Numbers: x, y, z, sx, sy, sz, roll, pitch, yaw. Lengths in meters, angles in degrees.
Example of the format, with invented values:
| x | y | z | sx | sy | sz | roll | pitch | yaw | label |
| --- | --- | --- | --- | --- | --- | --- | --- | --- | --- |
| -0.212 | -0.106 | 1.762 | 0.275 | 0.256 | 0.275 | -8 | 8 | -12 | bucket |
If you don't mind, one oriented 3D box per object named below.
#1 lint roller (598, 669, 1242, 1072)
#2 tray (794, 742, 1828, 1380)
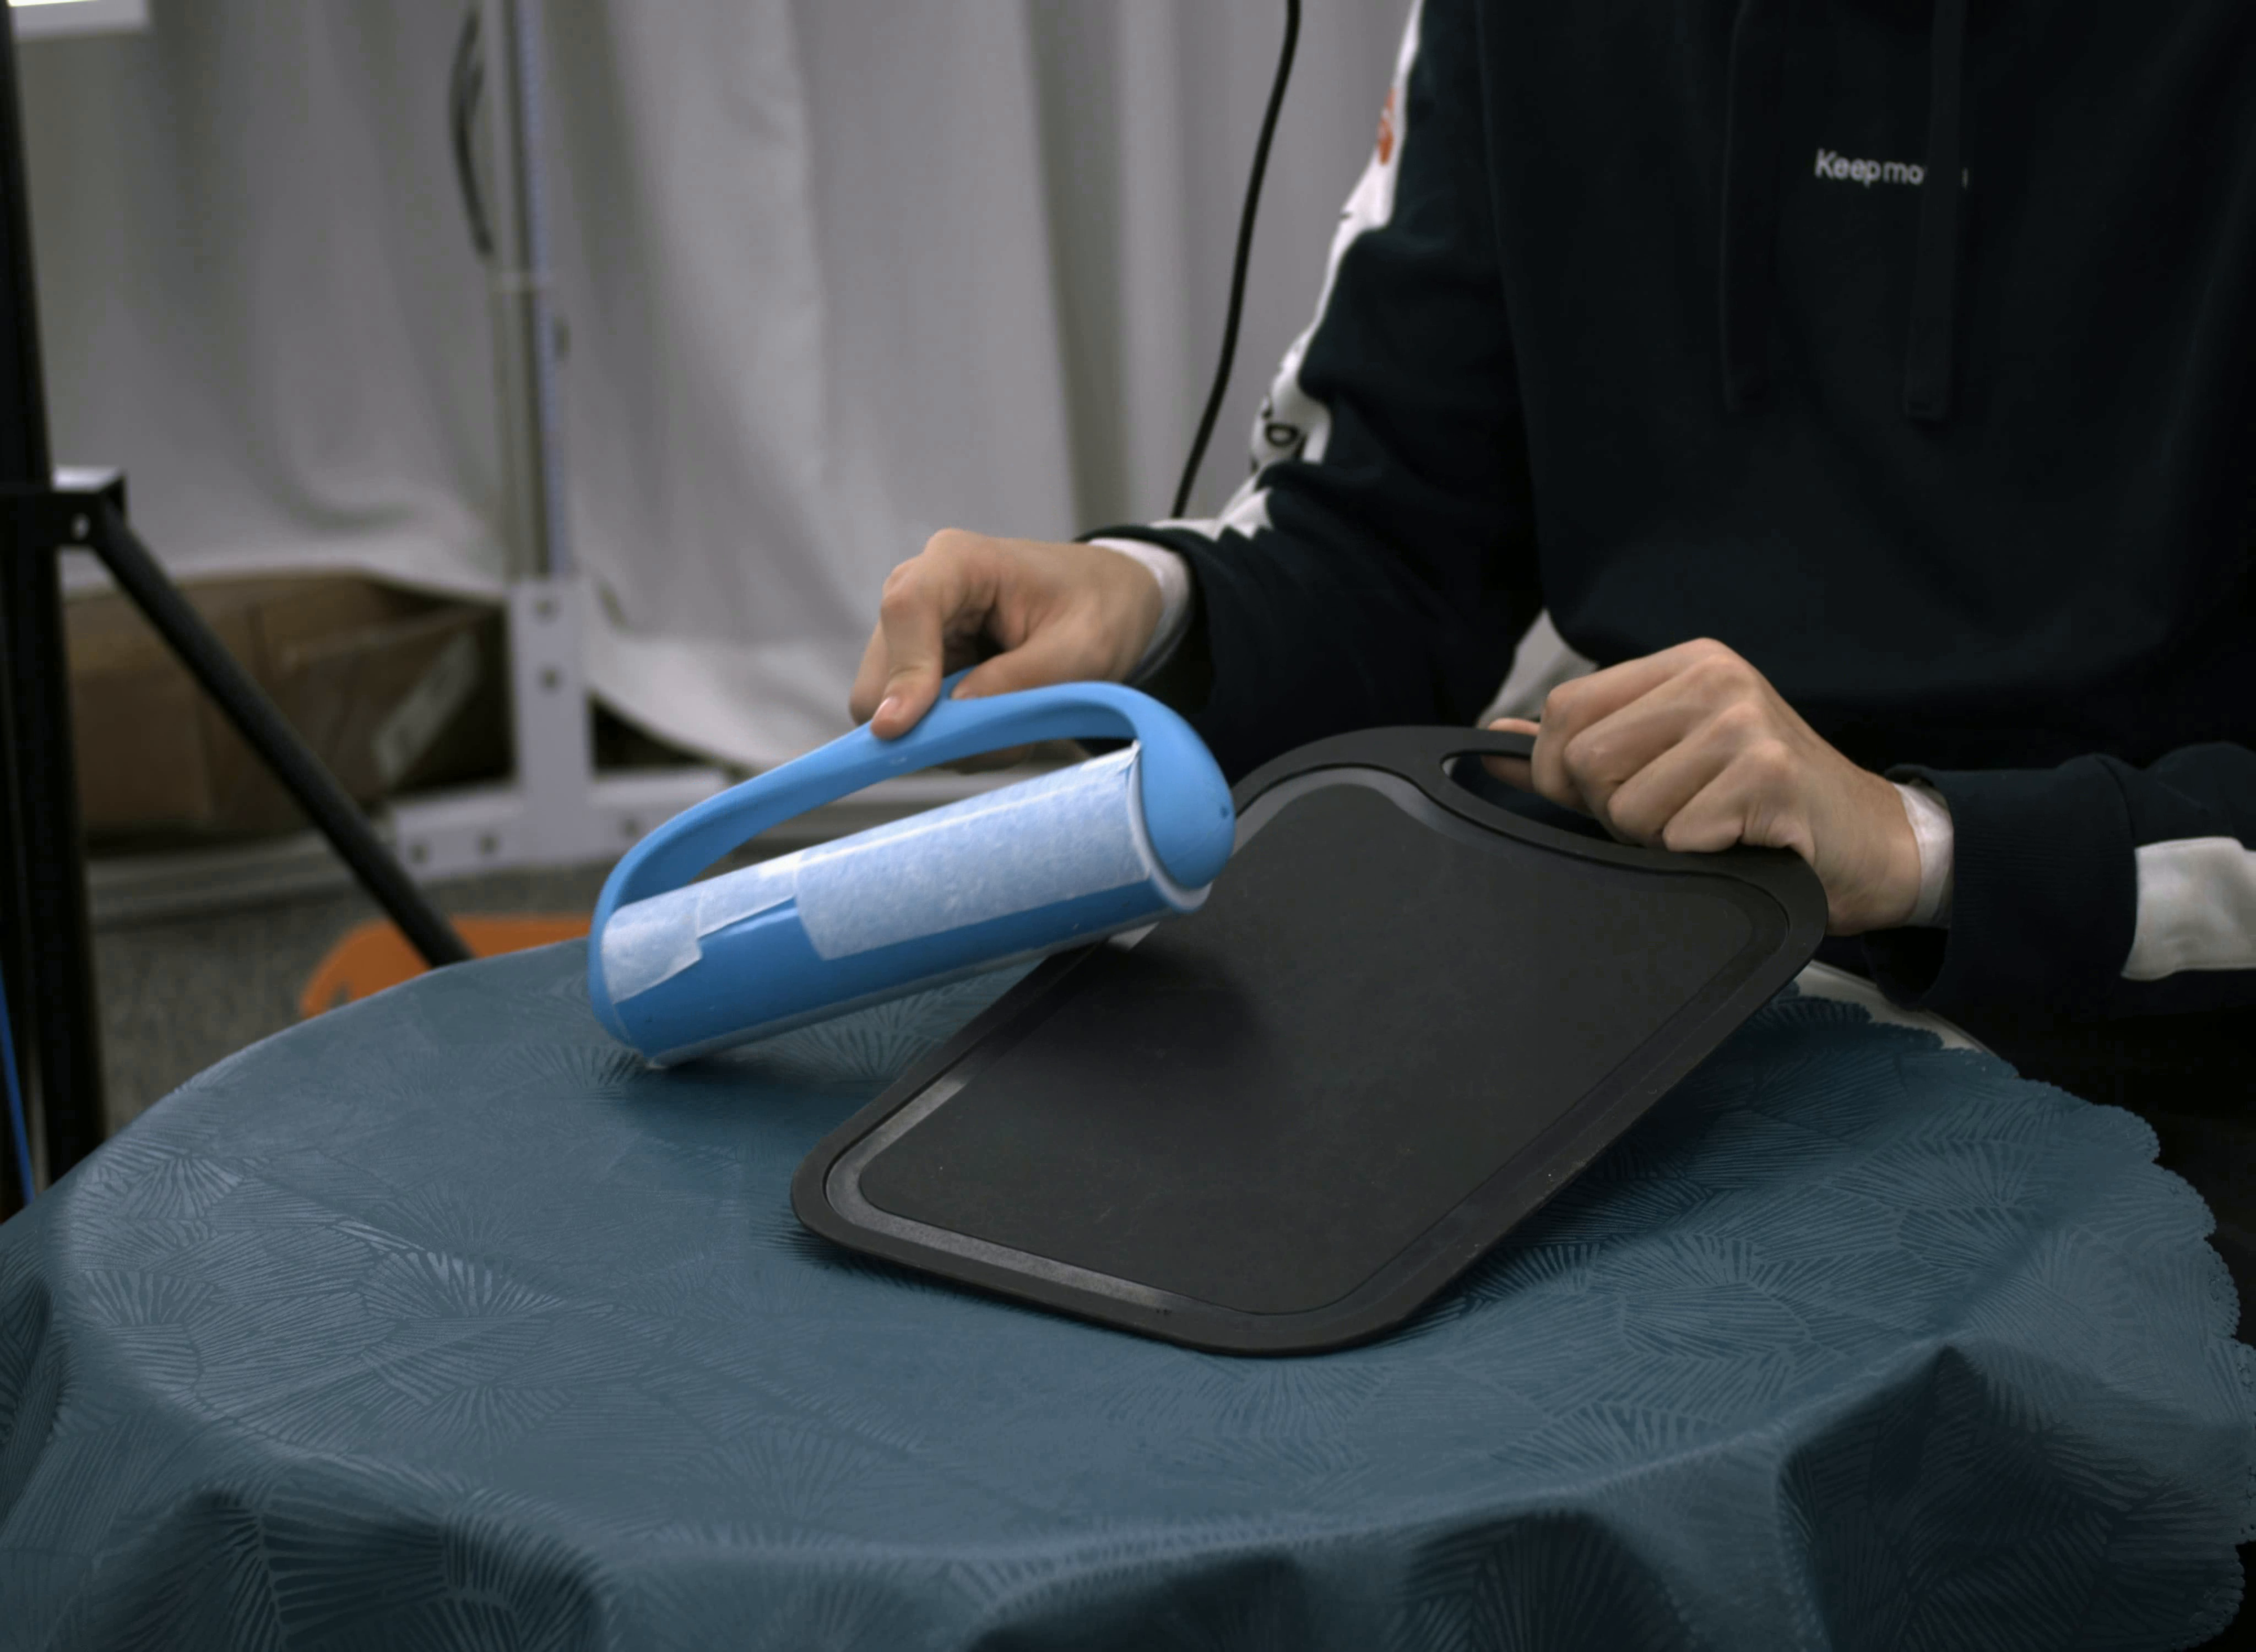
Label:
| x | y | z | sx | sy | sz | roll | pitch | yaw | label |
| --- | --- | --- | --- | --- | --- | --- | --- | --- | --- |
| -0.058 | -0.010 | 1.699 | 0.231 | 0.067 | 0.180 | -21 | 28 | 25 | lint roller |
| 0.062 | 0.057 | 1.574 | 0.215 | 0.010 | 0.320 | 15 | 37 | 35 | tray |
